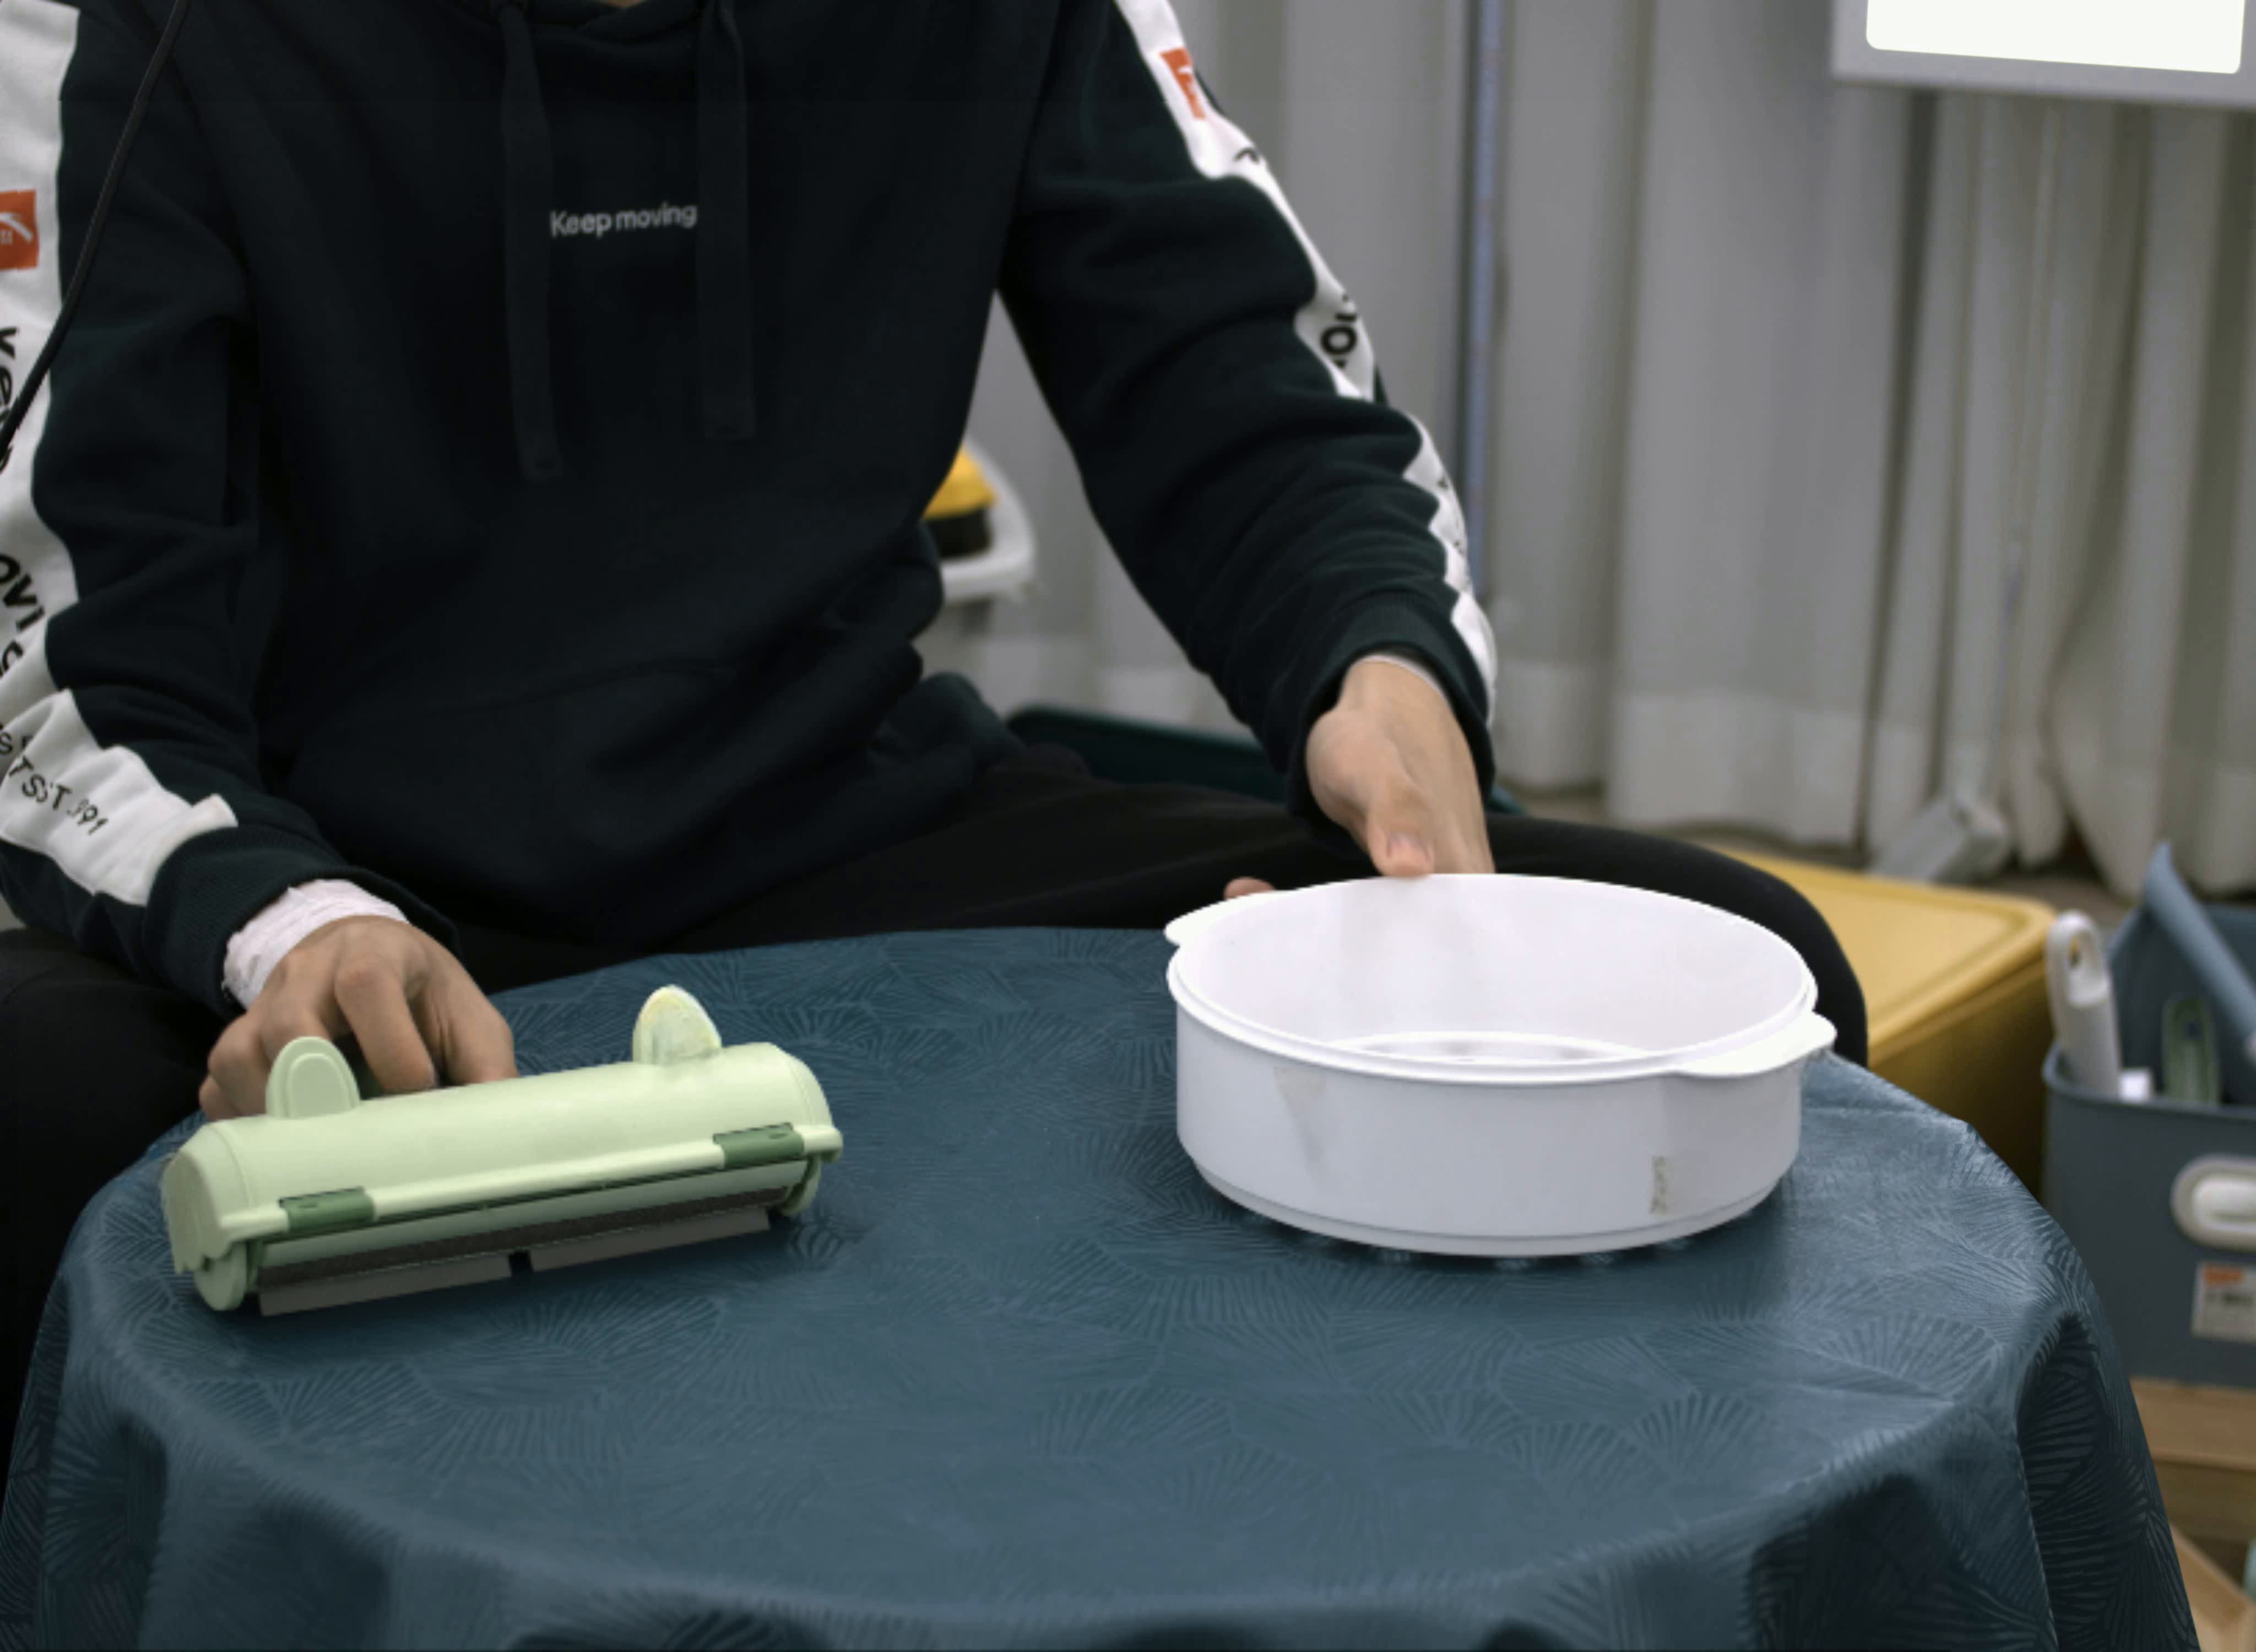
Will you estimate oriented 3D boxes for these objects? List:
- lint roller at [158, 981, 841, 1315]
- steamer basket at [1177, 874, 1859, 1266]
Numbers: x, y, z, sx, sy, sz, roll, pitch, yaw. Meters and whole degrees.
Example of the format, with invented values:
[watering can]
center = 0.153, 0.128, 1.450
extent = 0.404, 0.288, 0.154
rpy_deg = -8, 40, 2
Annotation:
[lint roller]
center = -0.210, 0.079, 1.589
extent = 0.199, 0.083, 0.181
rpy_deg = -8, 22, -28
[steamer basket]
center = 0.117, 0.075, 1.629
extent = 0.227, 0.070, 0.203
rpy_deg = 14, 22, 36
